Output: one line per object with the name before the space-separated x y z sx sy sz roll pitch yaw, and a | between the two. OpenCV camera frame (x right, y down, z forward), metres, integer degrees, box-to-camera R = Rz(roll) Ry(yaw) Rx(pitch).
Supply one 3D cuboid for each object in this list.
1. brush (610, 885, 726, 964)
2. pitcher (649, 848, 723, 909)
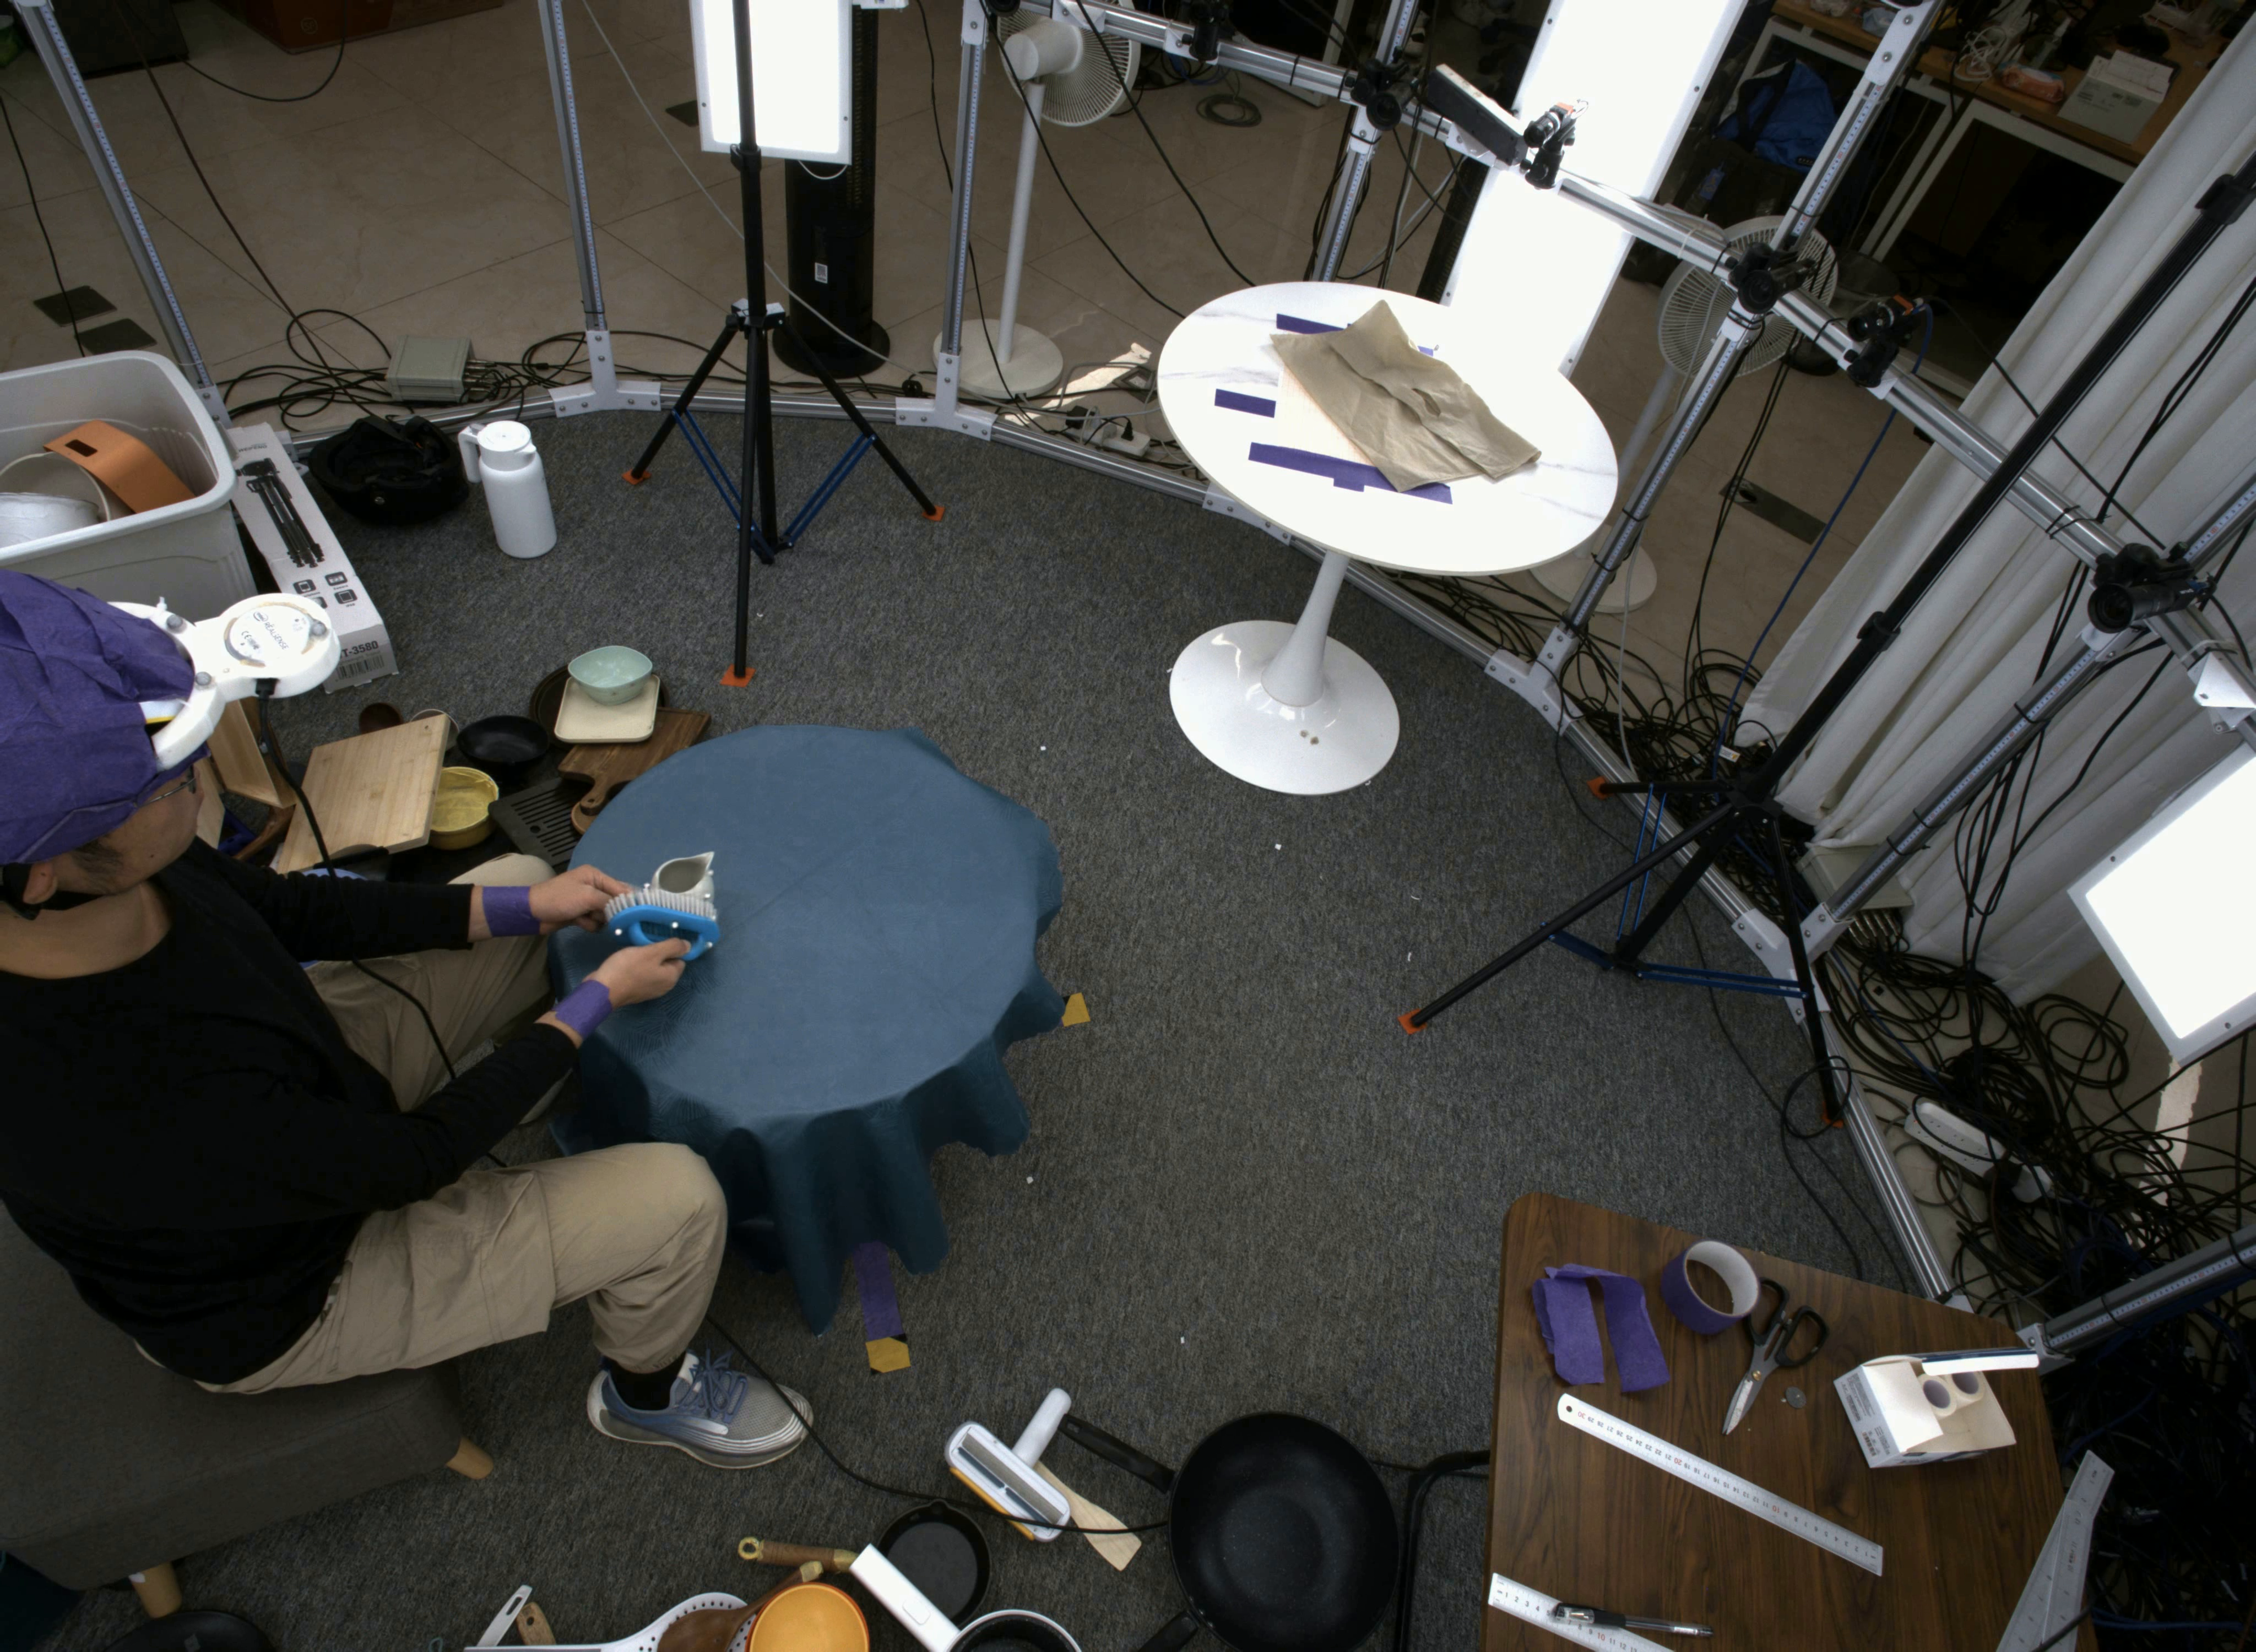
brush | -0.543 0.124 1.517 0.146 0.084 0.062 22 37 -47
pitcher | -0.544 0.082 1.579 0.120 0.090 0.073 -30 58 -35
